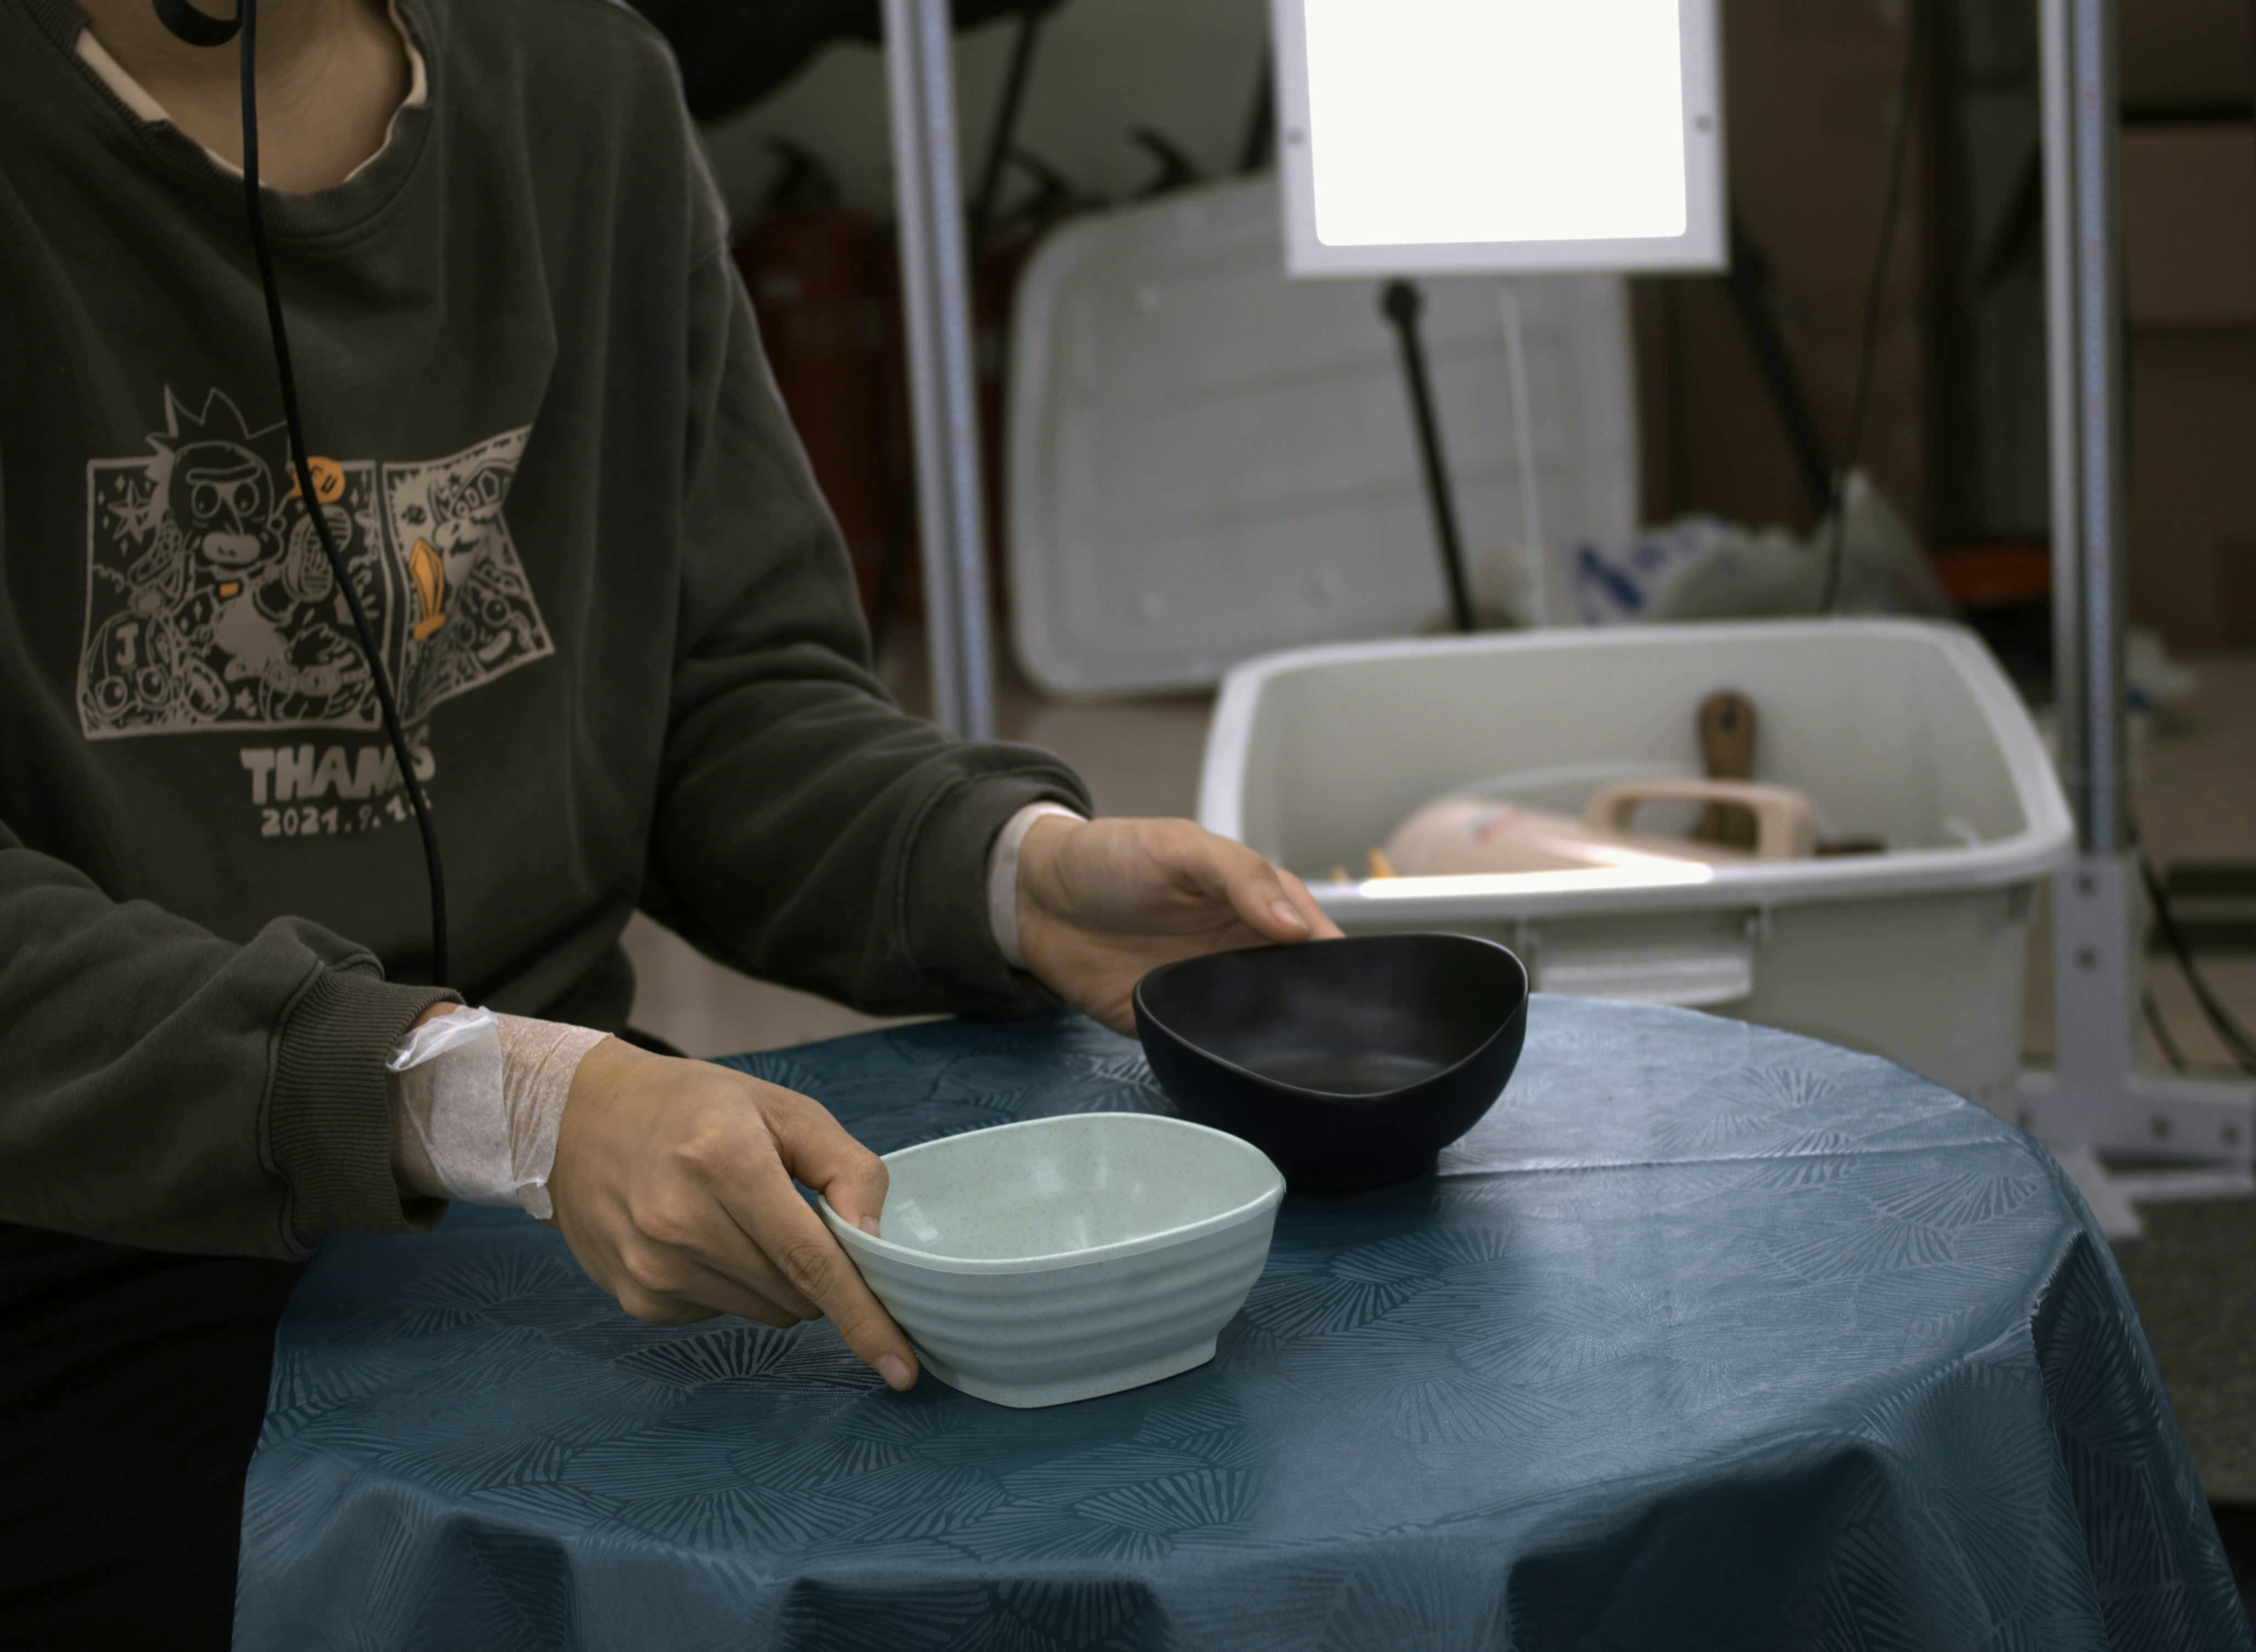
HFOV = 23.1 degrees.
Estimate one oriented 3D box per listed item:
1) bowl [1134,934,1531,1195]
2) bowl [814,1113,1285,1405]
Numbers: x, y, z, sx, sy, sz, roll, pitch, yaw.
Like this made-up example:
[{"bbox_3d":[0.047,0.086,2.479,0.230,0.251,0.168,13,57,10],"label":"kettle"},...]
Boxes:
[{"bbox_3d":[0.073,0.086,1.902,0.136,0.067,0.171,-7,15,-6],"label":"bowl"},{"bbox_3d":[-0.024,0.139,1.732,0.151,0.059,0.151,-4,13,0],"label":"bowl"}]
